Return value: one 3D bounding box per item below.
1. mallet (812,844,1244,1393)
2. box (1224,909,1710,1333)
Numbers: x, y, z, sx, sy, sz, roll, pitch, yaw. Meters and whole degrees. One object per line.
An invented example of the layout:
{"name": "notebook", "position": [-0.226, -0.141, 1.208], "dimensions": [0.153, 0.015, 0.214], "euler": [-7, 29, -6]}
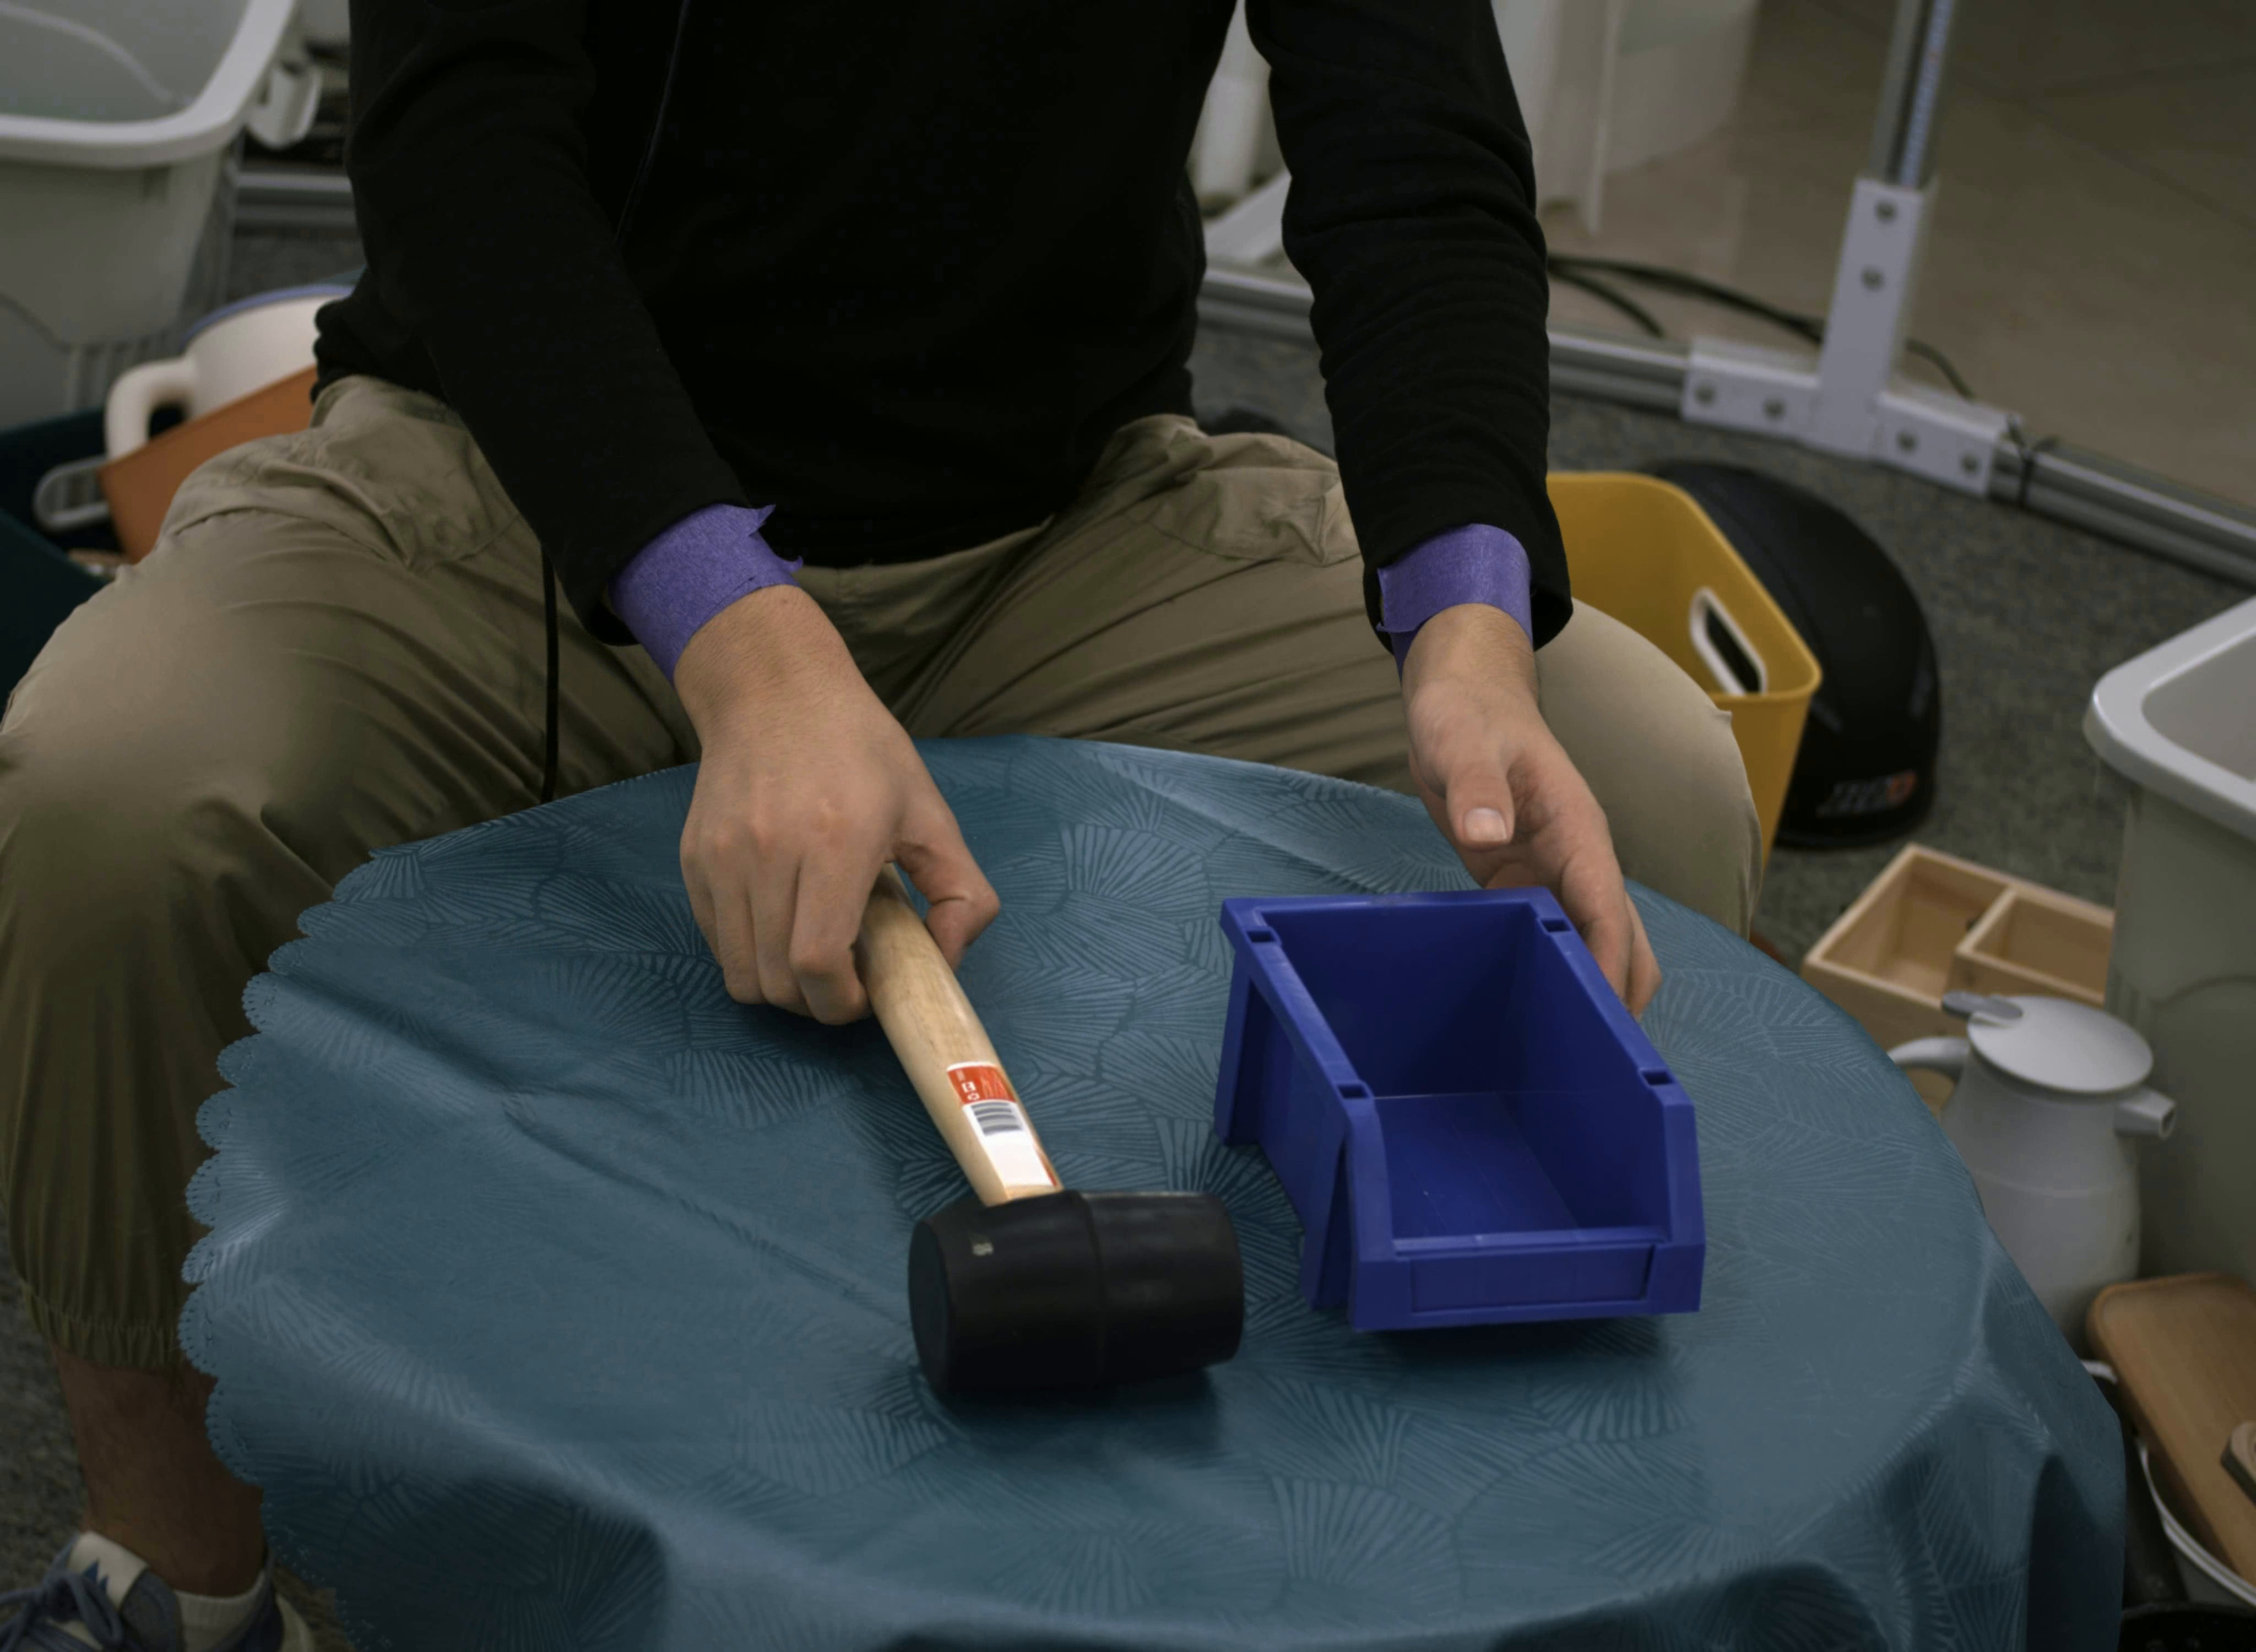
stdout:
{"name": "mallet", "position": [-0.055, 0.082, 1.802], "dimensions": [0.101, 0.064, 0.342], "euler": [-1, 28, -17]}
{"name": "box", "position": [0.113, 0.103, 1.781], "dimensions": [0.124, 0.081, 0.181], "euler": [-1, 24, -15]}
